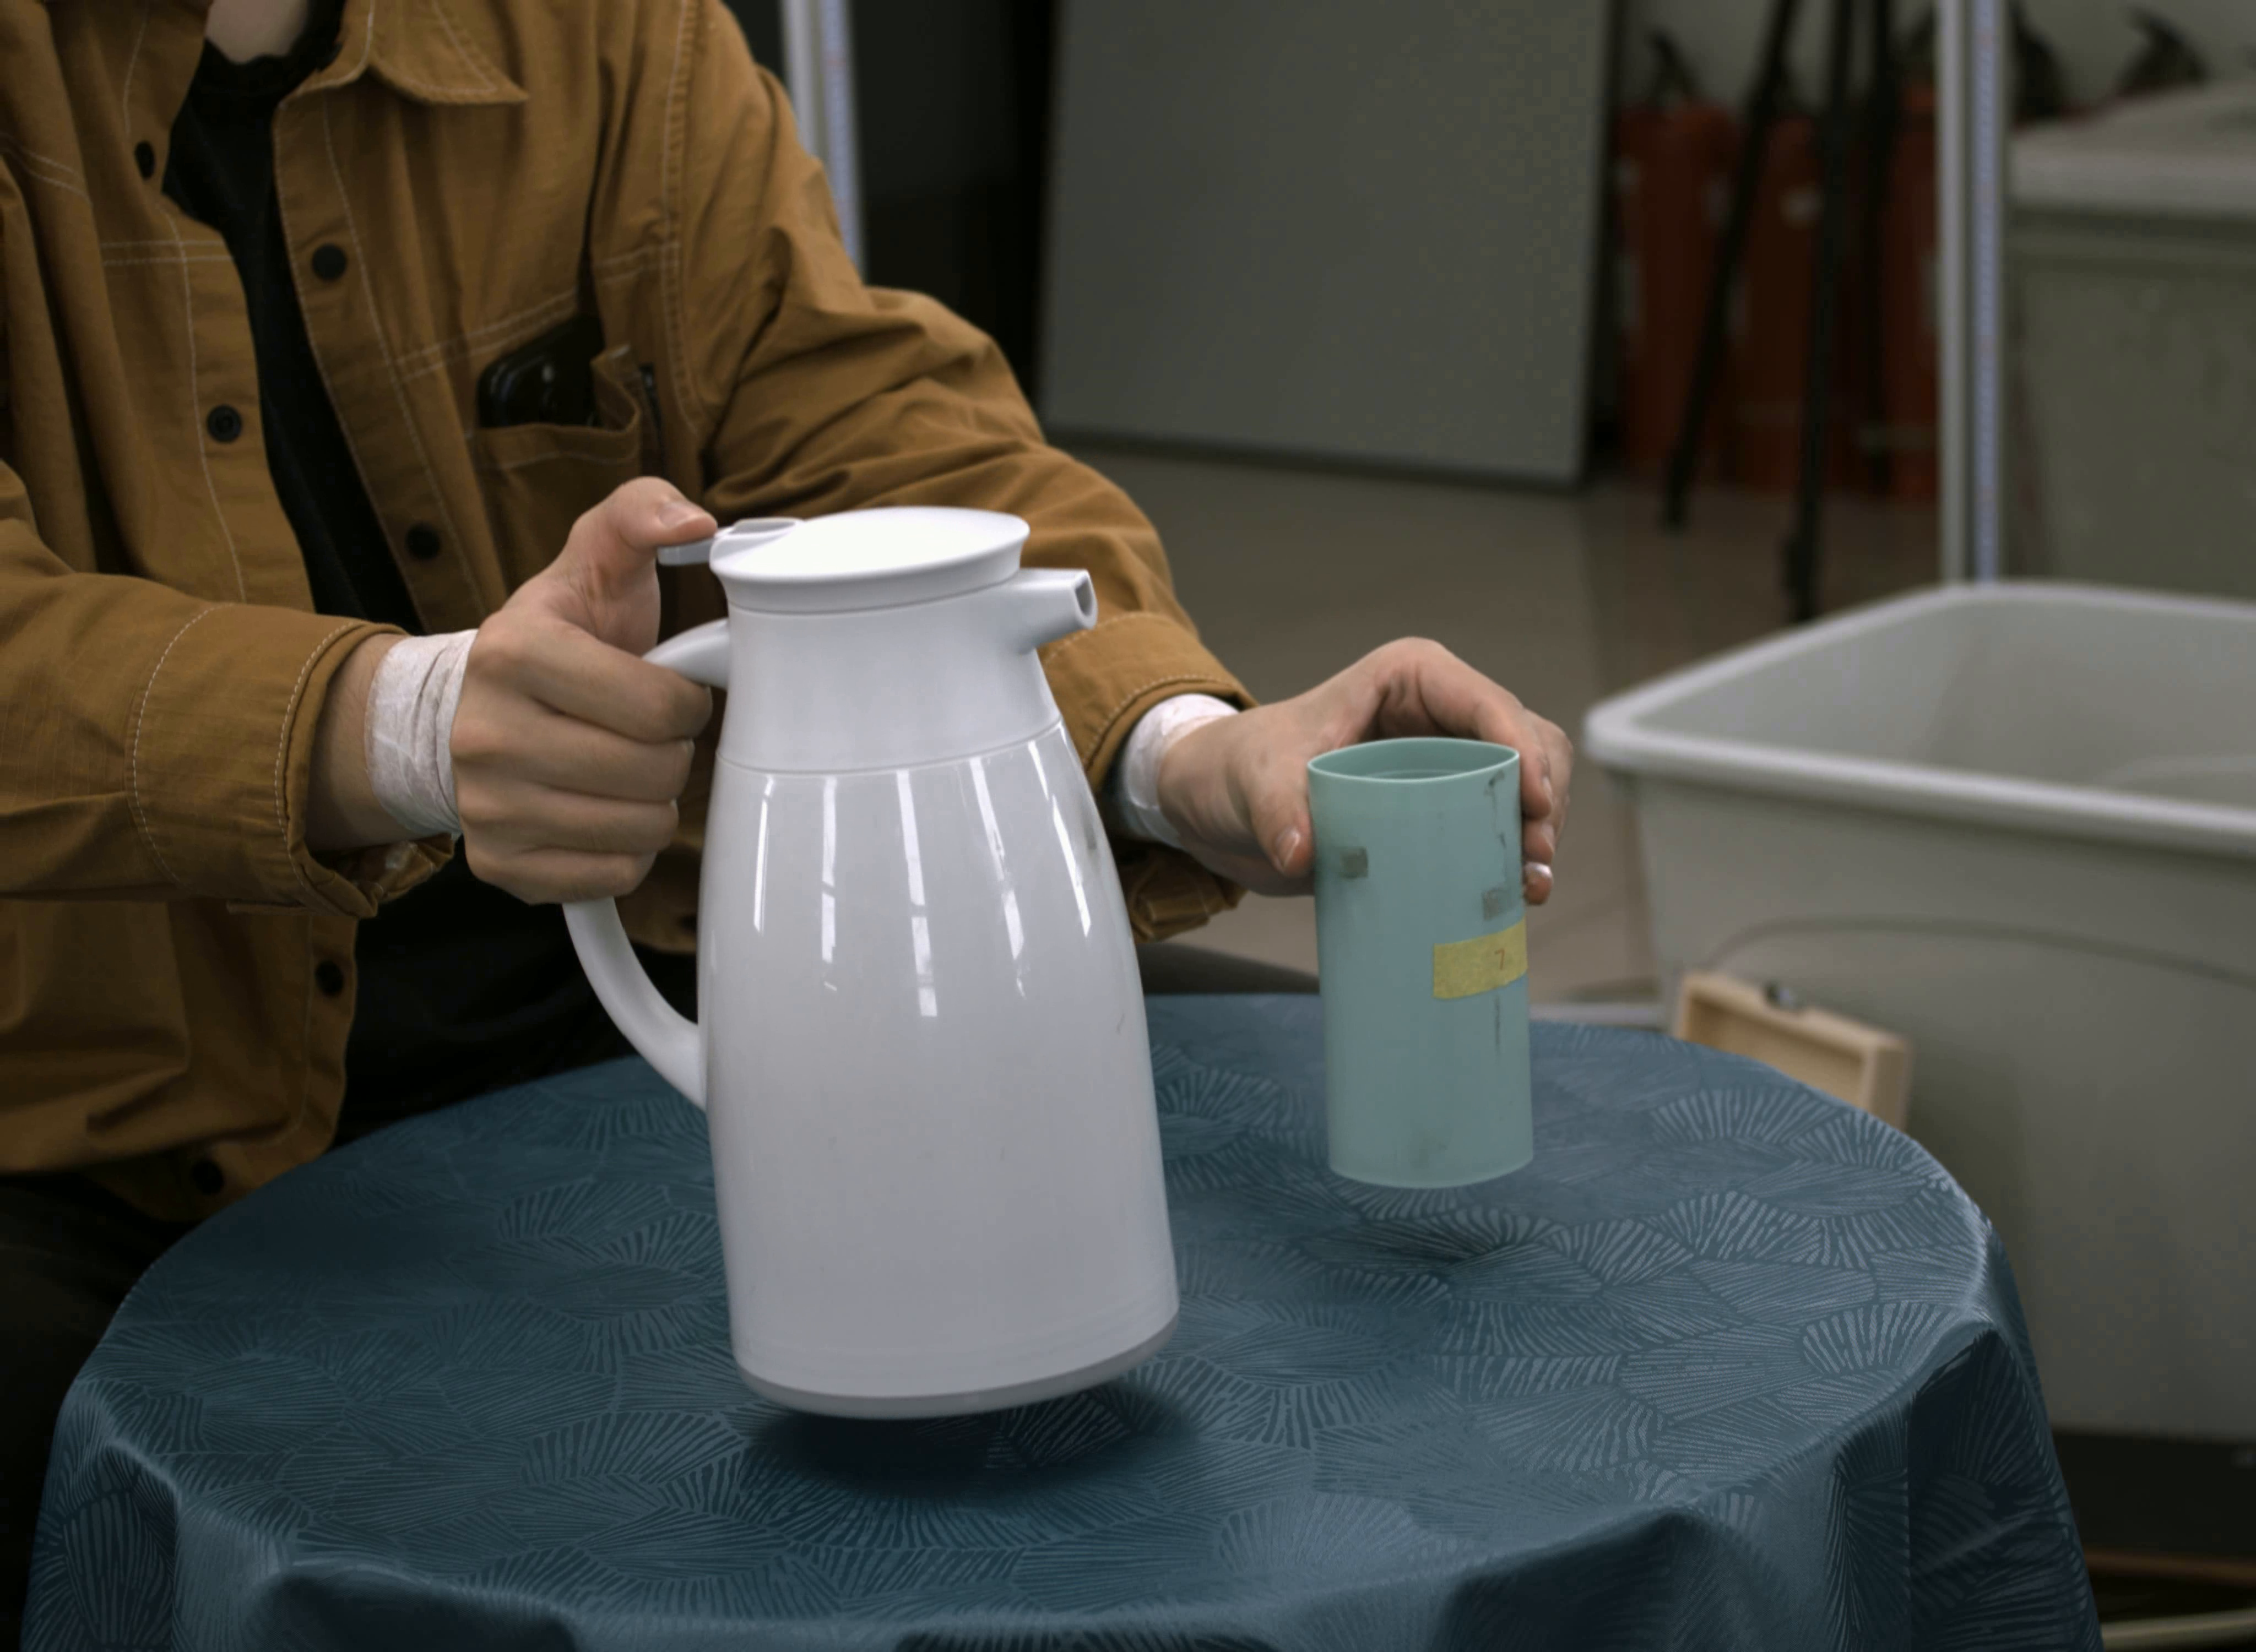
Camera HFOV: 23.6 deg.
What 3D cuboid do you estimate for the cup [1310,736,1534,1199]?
[{"bbox_3d":[0.091,0.043,1.672,0.066,0.134,0.067,-3,11,0],"label":"cup"}]

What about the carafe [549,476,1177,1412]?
[{"bbox_3d":[-0.081,0.029,1.544,0.167,0.251,0.131,-4,12,15],"label":"carafe"}]
